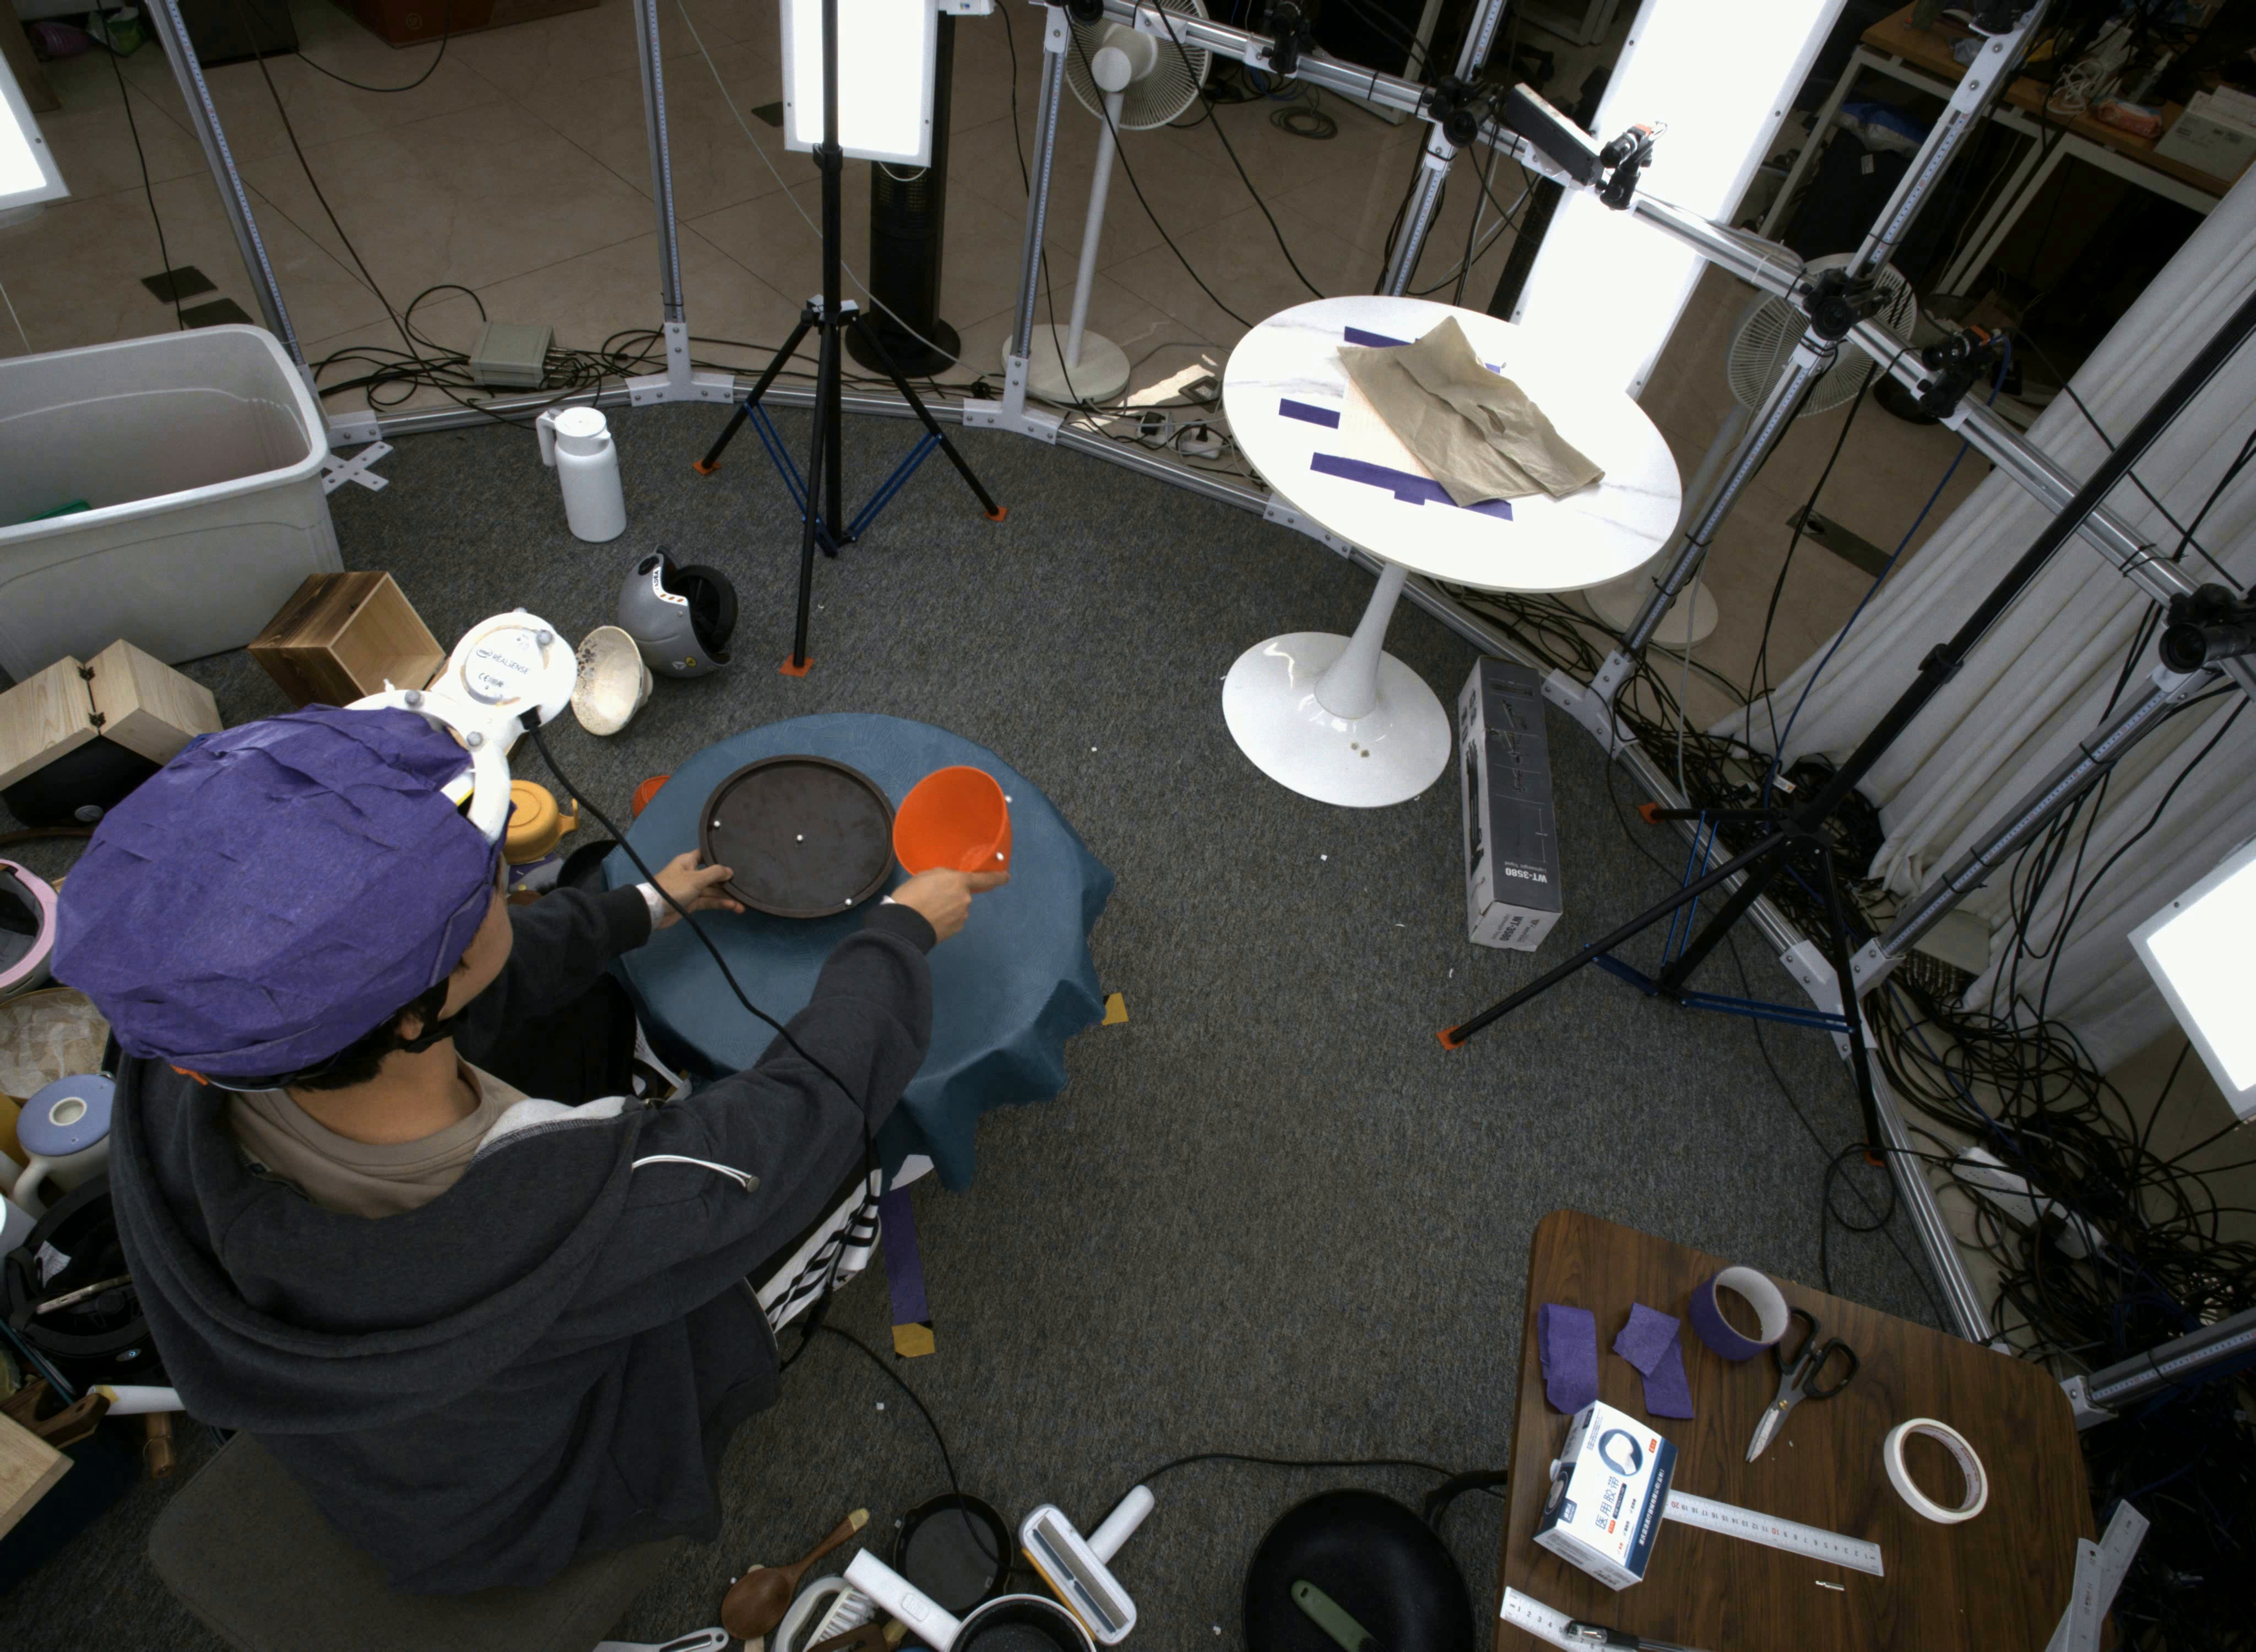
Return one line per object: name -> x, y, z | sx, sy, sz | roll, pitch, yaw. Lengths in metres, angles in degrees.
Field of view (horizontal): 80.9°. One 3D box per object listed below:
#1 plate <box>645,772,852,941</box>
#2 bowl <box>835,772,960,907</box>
plate -> -0.475, 0.035, 1.625 | 0.256, 0.029, 0.250 | 12, 53, -14
bowl -> -0.261, 0.026, 1.530 | 0.146, 0.108, 0.145 | -2, 50, 4
